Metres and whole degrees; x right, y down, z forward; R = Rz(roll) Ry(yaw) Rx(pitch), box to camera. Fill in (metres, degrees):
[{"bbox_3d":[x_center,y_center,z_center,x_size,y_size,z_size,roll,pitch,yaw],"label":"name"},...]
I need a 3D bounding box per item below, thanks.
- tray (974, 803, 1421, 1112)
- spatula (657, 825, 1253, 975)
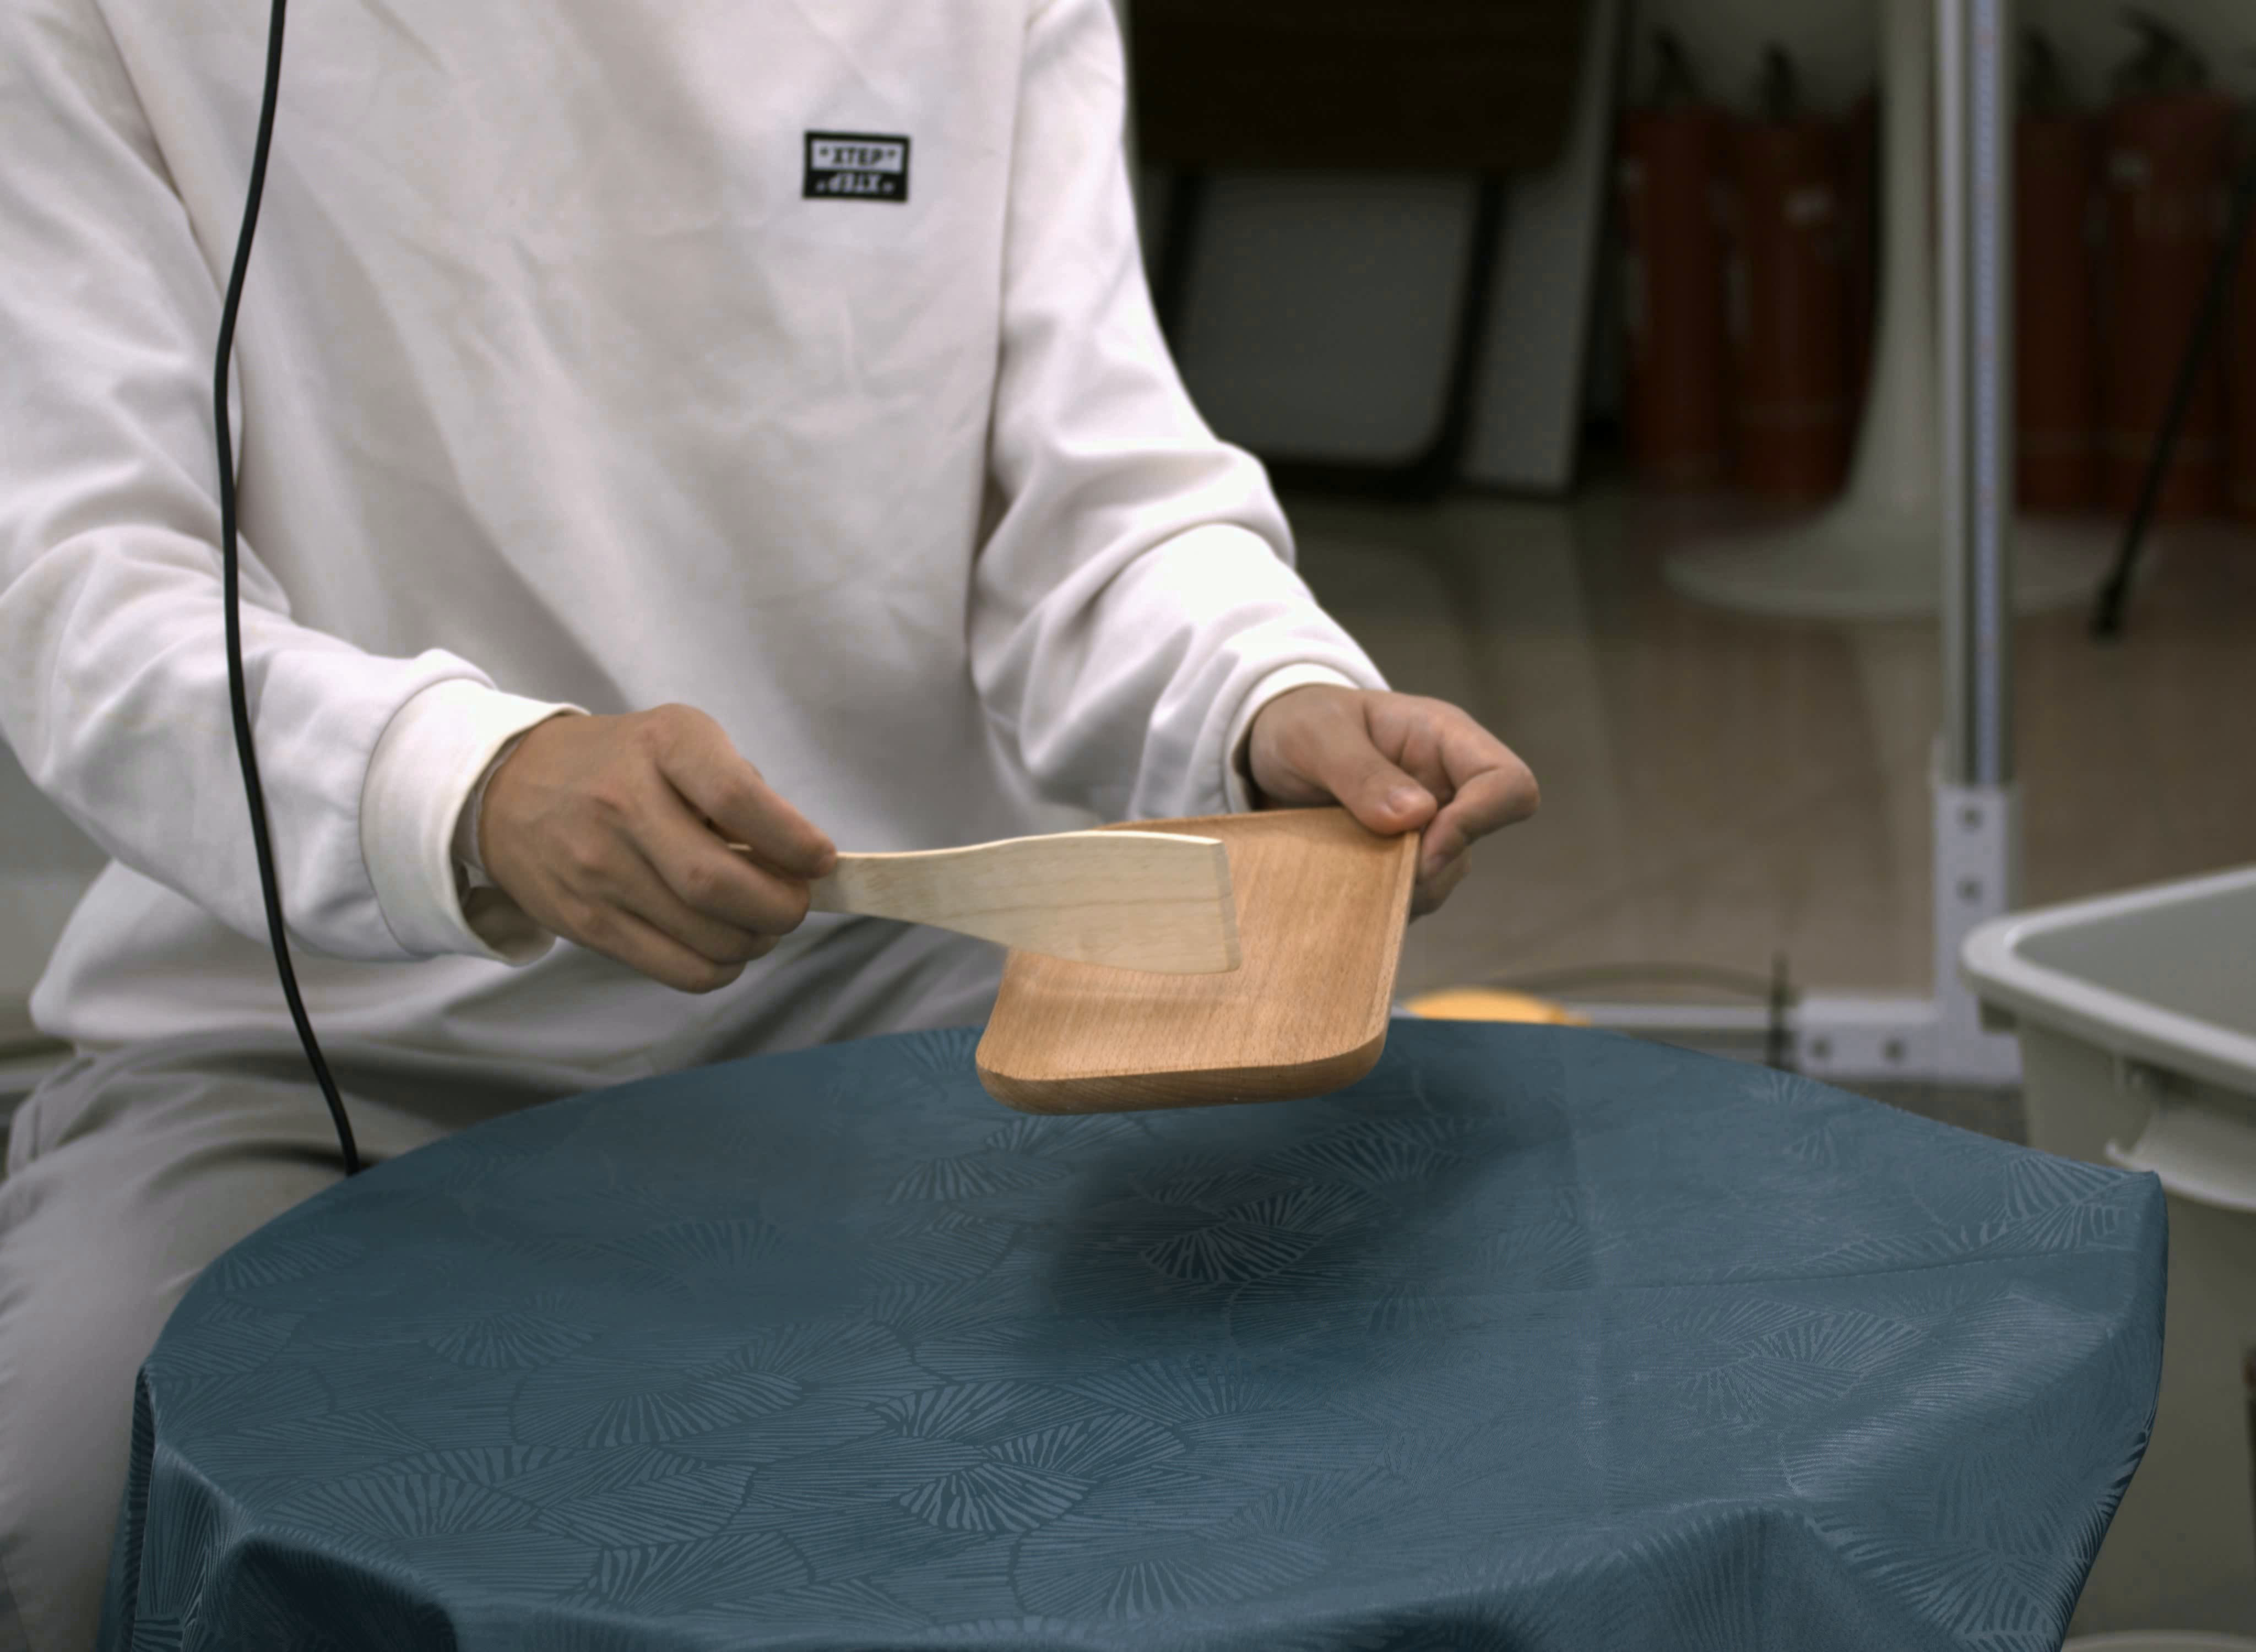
[{"bbox_3d":[0.026,0.040,1.731,0.129,0.023,0.250,-1,17,8],"label":"tray"},{"bbox_3d":[-0.058,0.020,1.715,0.208,0.051,0.005,2,25,24],"label":"spatula"}]
